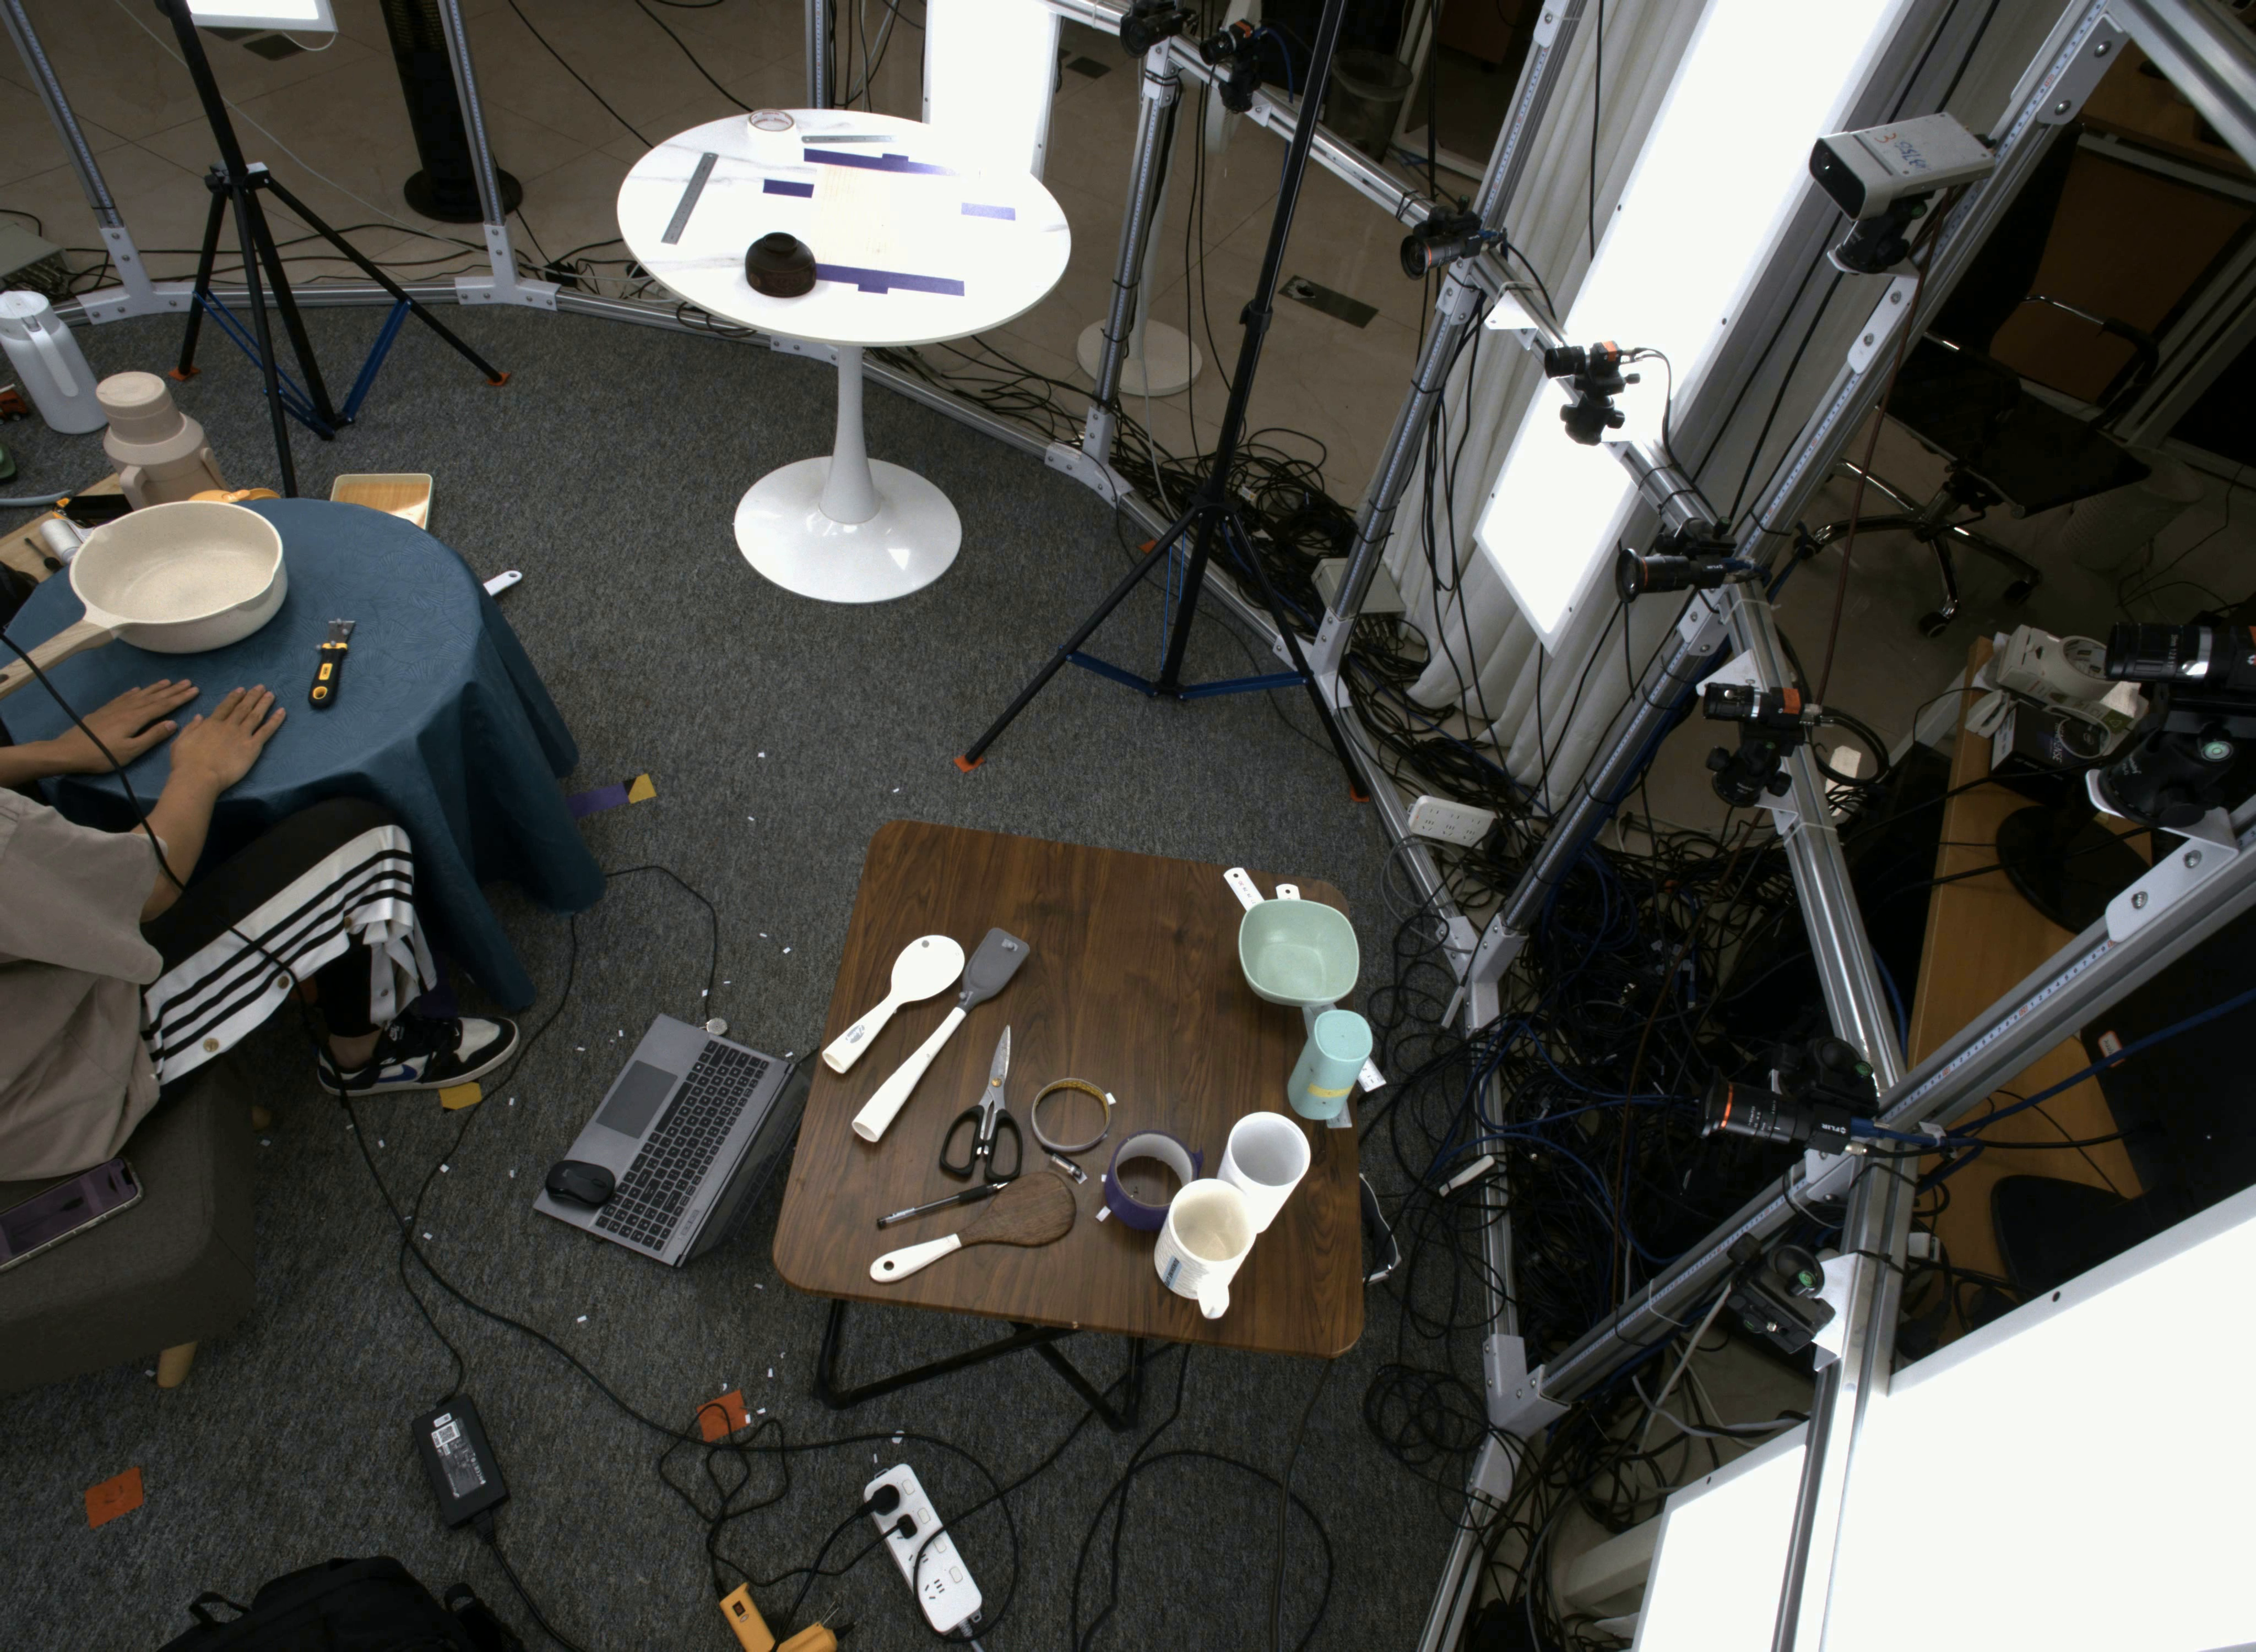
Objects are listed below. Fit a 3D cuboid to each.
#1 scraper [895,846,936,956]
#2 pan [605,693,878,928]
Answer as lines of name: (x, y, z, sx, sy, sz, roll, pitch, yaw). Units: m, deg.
scraper: (-0.278, 0.094, 1.689, 0.039, 0.015, 0.168, 10, 50, -10)
pan: (-0.505, -0.002, 1.657, 0.259, 0.104, 0.434, 33, 54, 9)
